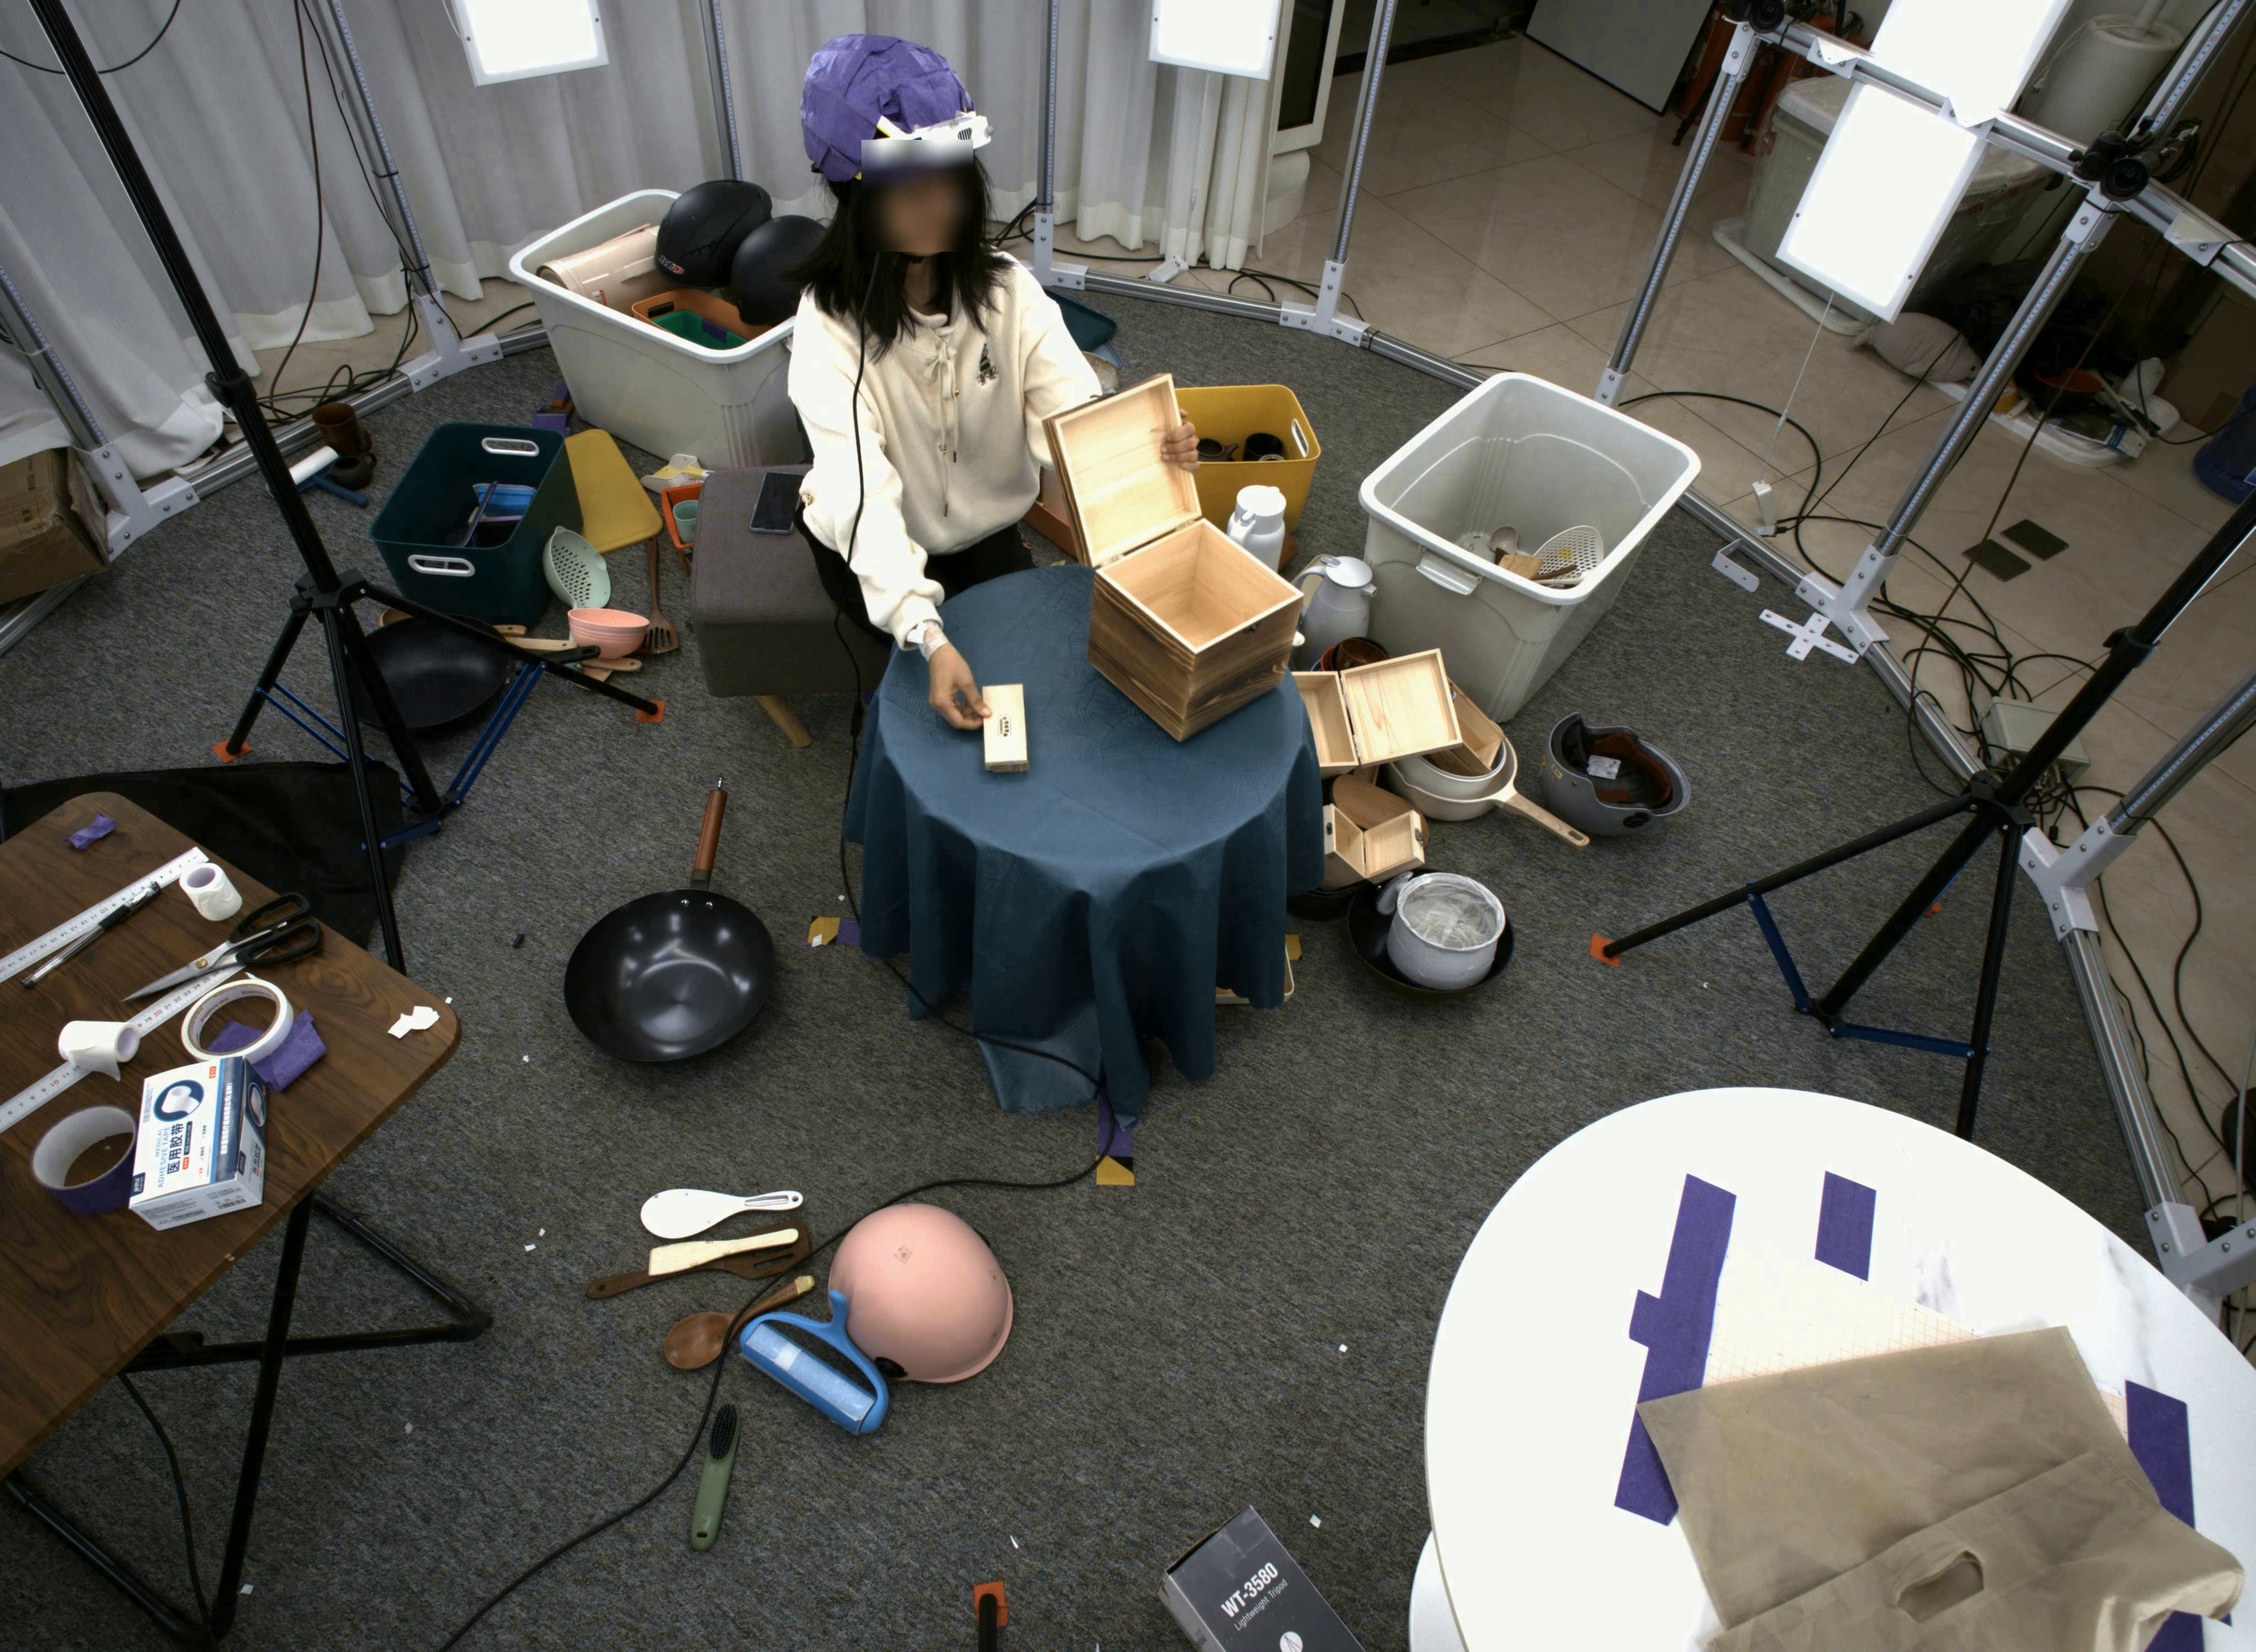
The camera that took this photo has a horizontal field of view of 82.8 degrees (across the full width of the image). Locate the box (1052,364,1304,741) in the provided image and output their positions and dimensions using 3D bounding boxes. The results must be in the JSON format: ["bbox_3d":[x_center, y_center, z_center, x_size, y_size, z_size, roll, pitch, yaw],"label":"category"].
[{"bbox_3d":[0.062,-0.368,1.734,0.210,0.366,0.327,-32,61,-28],"label":"box"}]

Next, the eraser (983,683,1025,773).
[{"bbox_3d":[-0.168,-0.134,1.752,0.057,0.028,0.143,-3,52,-1],"label":"eraser"}]
